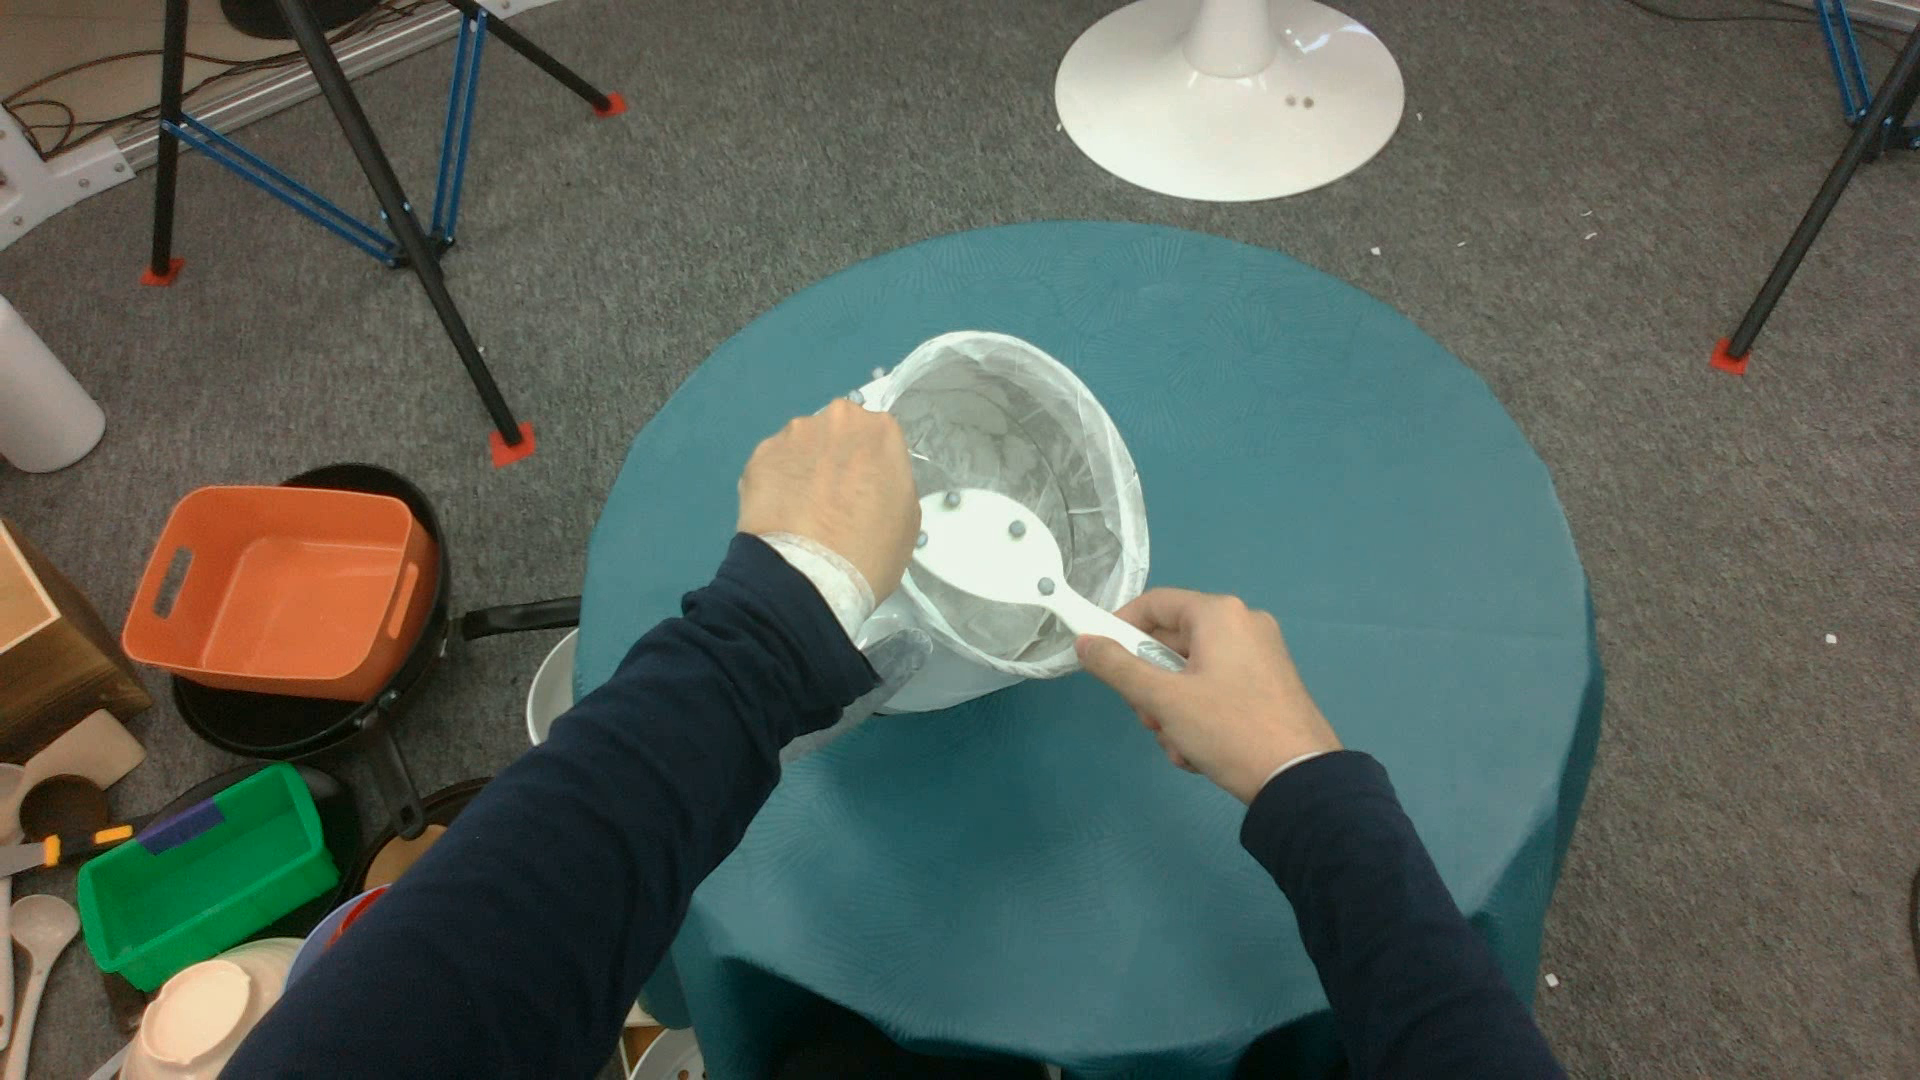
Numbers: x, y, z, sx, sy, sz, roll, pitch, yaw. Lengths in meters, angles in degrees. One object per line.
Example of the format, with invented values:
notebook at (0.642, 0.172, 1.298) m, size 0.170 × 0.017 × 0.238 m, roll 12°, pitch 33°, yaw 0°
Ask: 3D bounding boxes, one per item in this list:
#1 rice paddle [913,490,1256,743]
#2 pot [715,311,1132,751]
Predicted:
rice paddle at (0.053, 0.028, 0.668) m, size 0.069 × 0.029 × 0.205 m, roll -35°, pitch 51°, yaw -26°
pot at (-0.031, 0.007, 0.700) m, size 0.178 × 0.136 × 0.235 m, roll 45°, pitch 51°, yaw -16°
